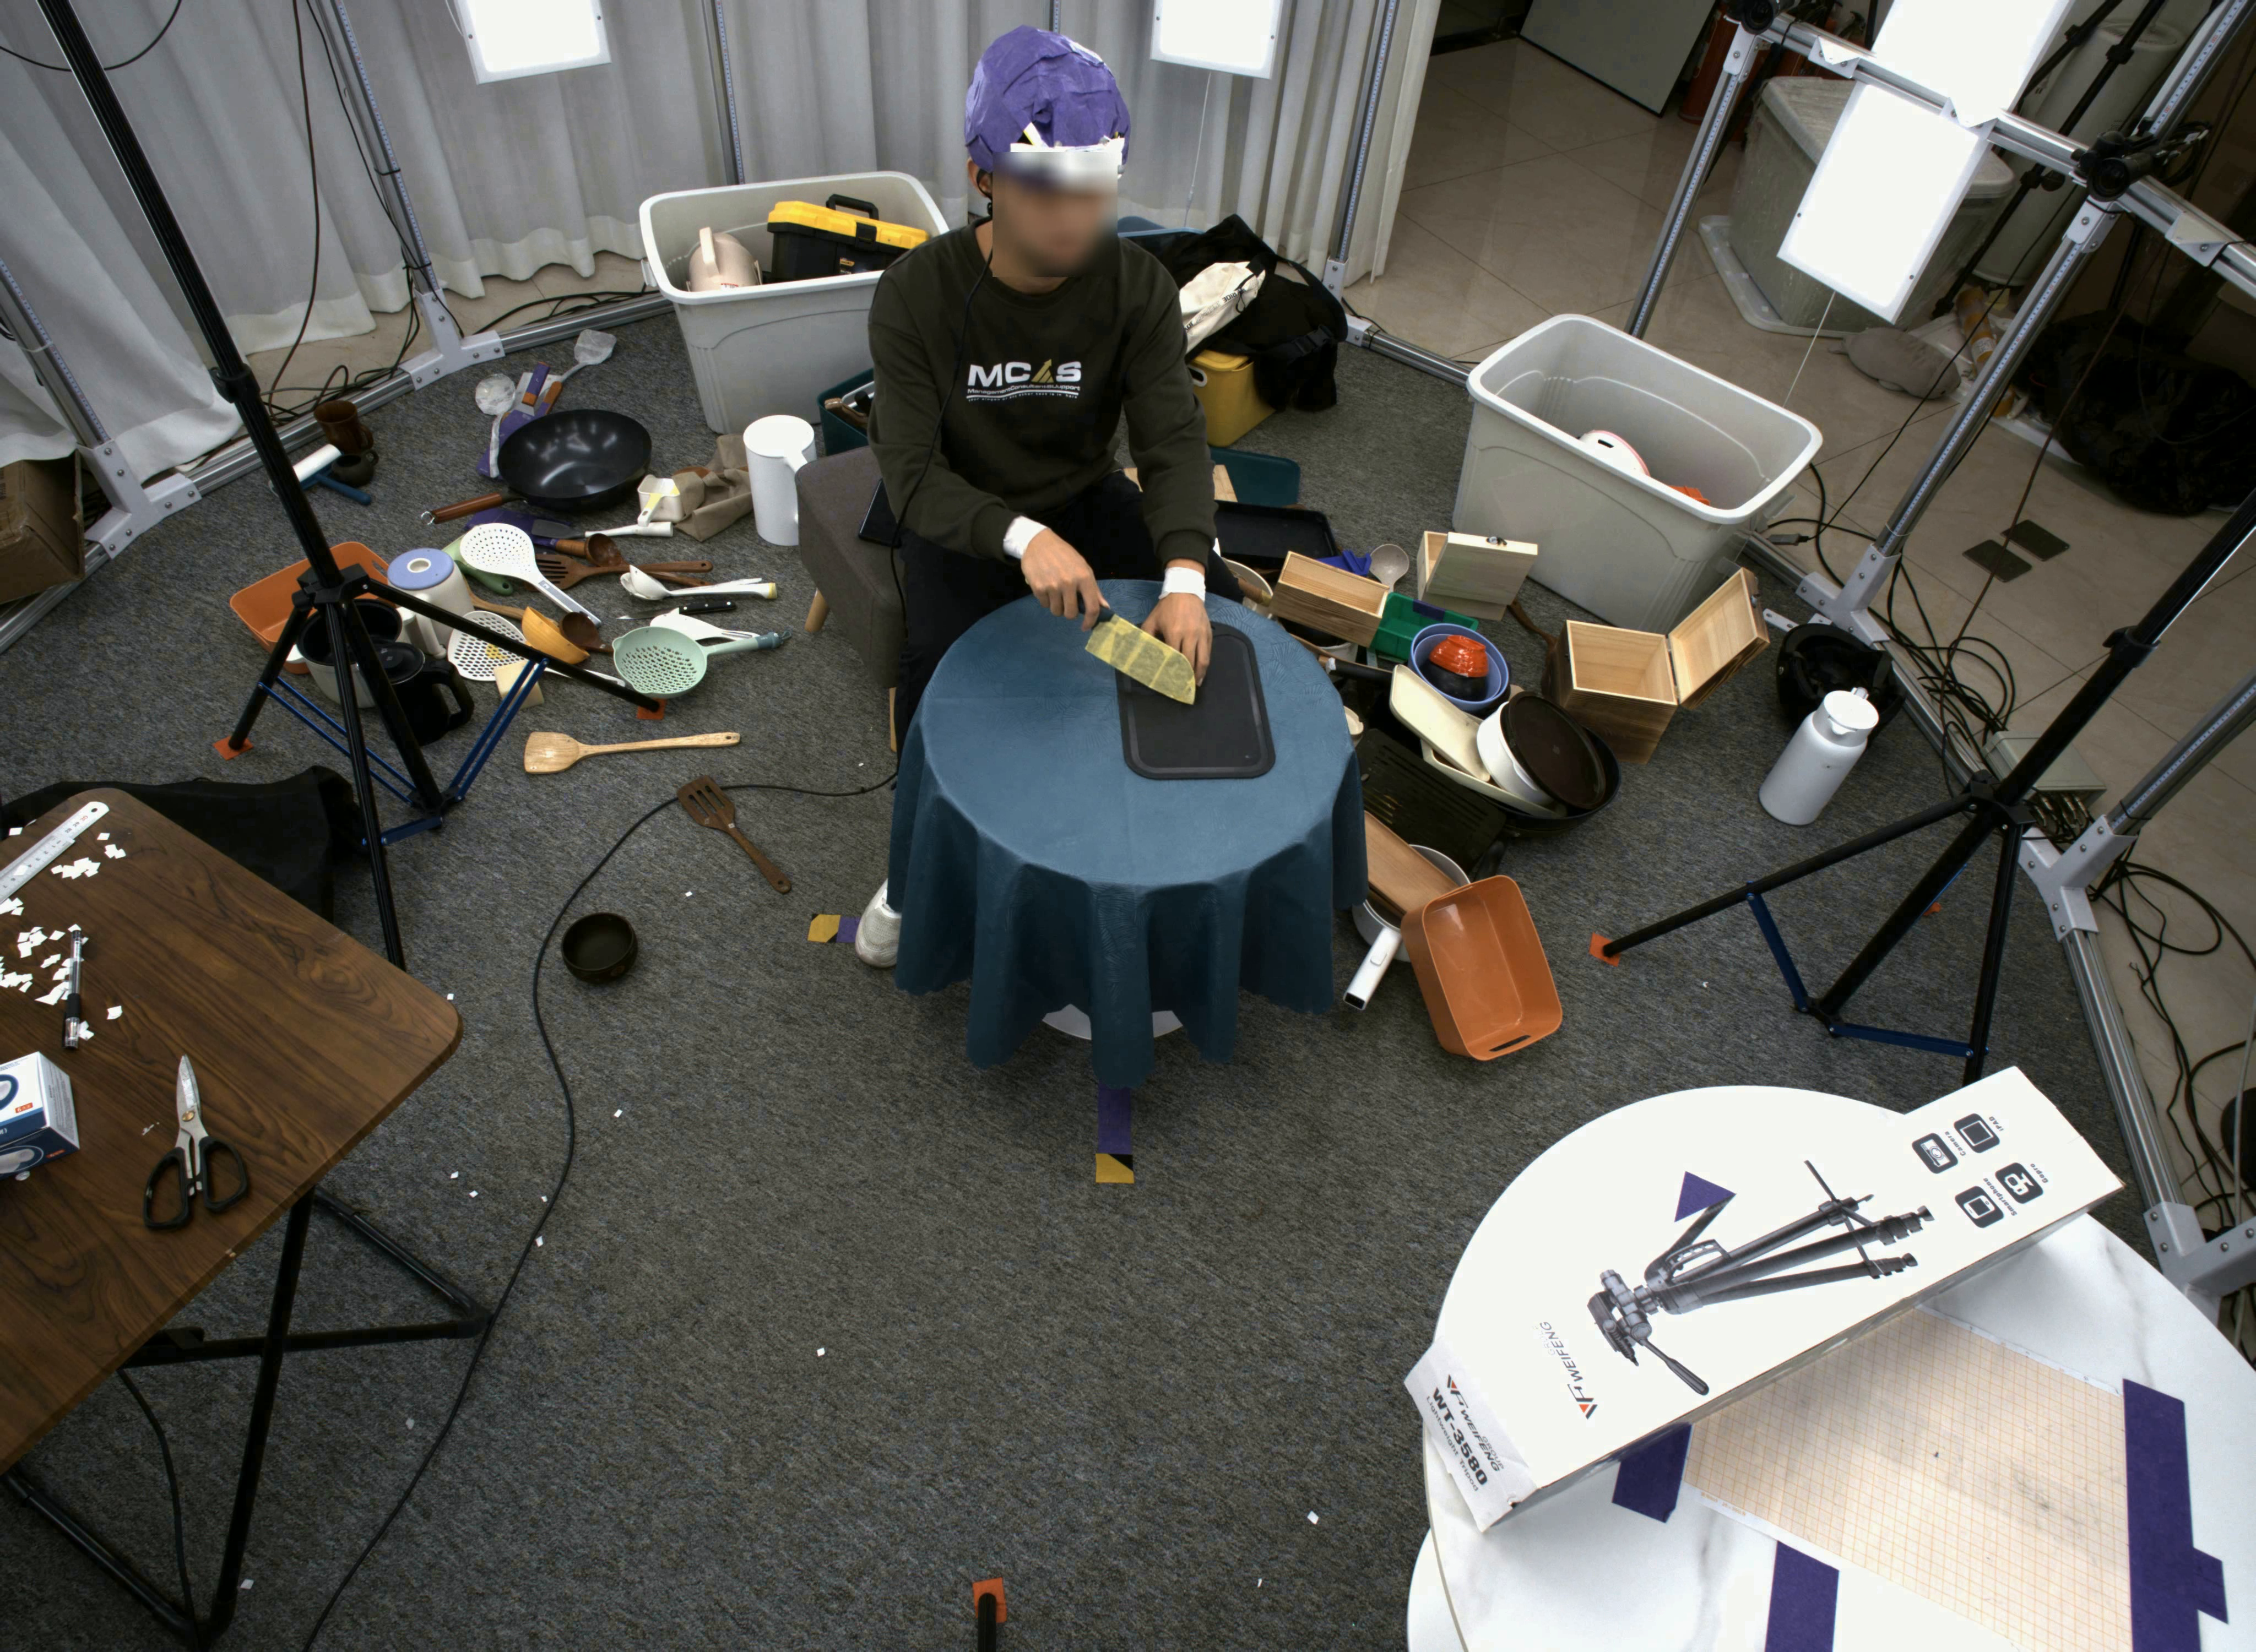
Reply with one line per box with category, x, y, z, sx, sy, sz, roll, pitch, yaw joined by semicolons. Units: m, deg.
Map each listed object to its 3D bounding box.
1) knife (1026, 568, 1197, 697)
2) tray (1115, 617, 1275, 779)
knife;-0.024;-0.270;1.809;0.289;0.080;0.027;34;32;1
tray;0.090;-0.191;1.834;0.211;0.009;0.333;-1;49;-5
